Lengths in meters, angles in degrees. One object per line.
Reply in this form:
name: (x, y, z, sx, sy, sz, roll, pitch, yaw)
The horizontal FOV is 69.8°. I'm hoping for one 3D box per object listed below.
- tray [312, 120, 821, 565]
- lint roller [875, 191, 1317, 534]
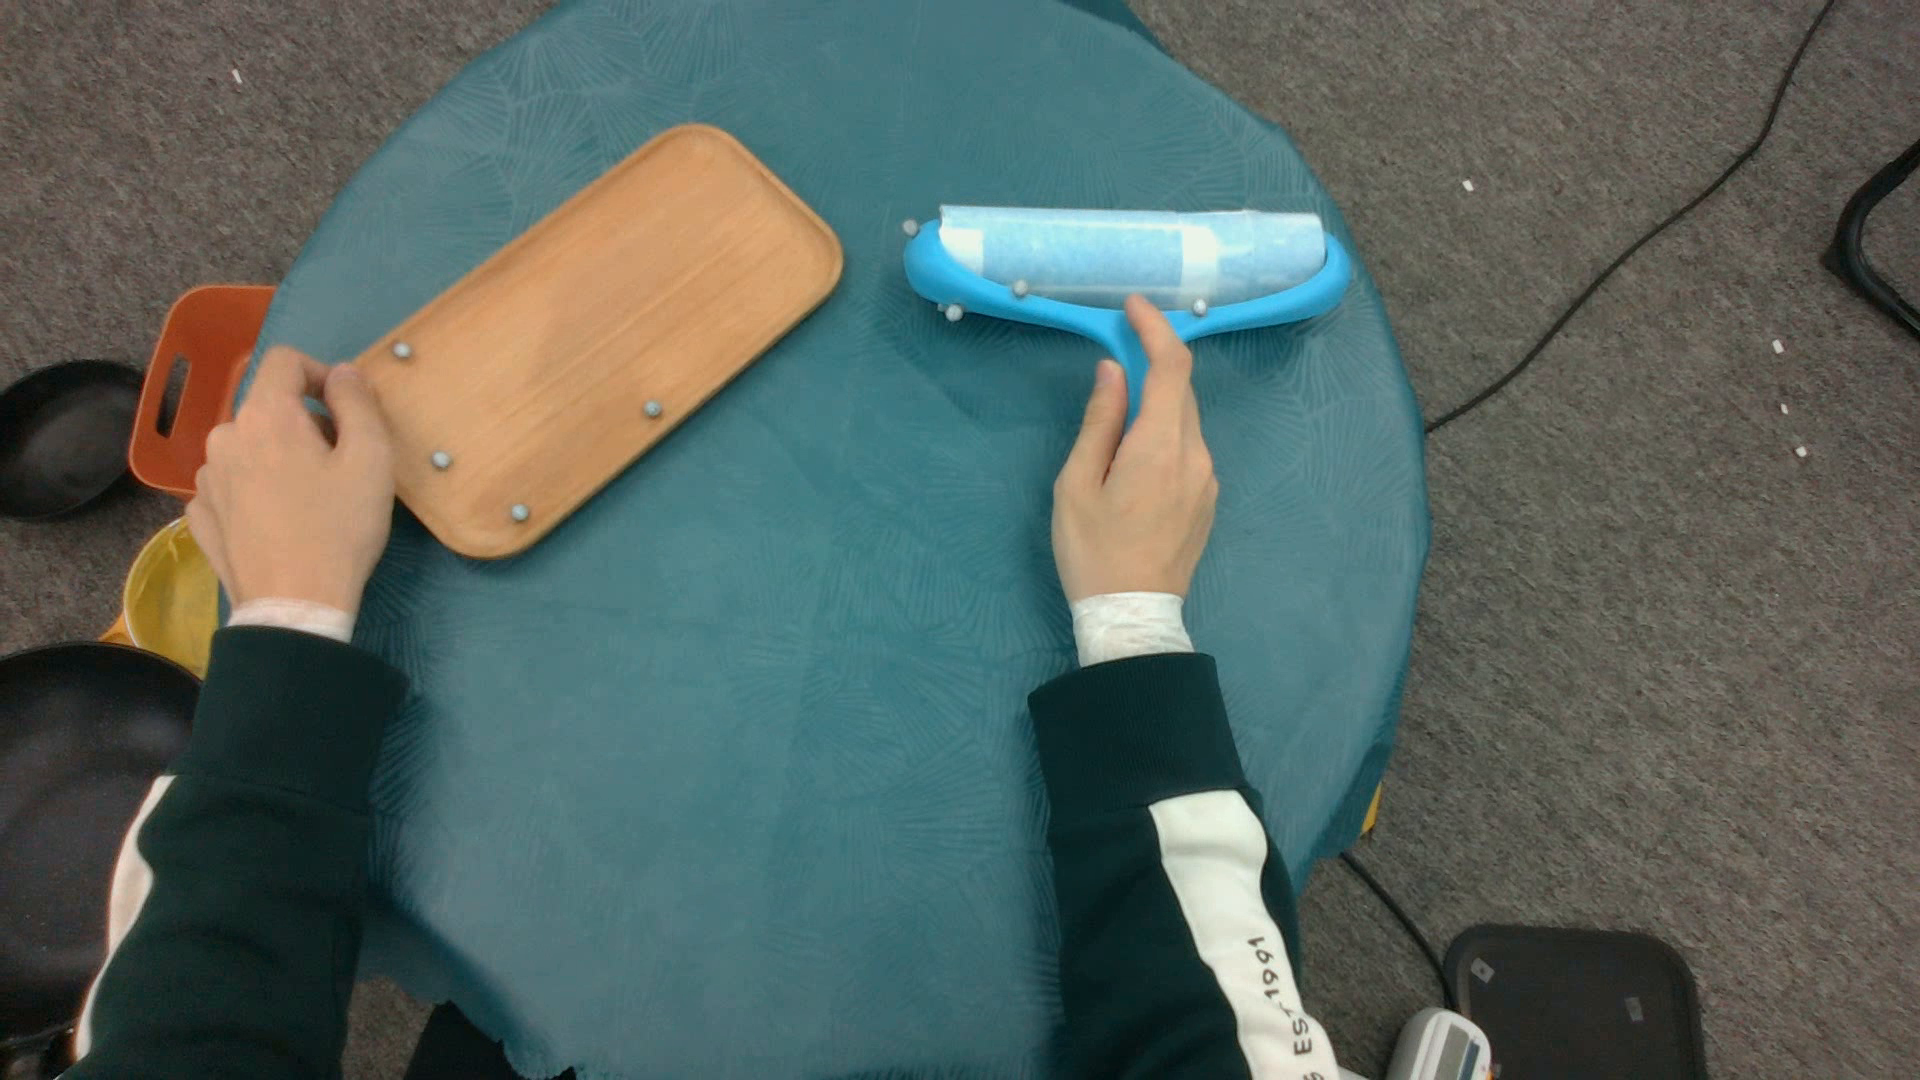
tray: (-0.191, -0.104, 0.691, 0.130, 0.023, 0.251, 44, 72, 5)
lint roller: (0.076, -0.098, 0.690, 0.229, 0.067, 0.181, -3, 69, -7)
